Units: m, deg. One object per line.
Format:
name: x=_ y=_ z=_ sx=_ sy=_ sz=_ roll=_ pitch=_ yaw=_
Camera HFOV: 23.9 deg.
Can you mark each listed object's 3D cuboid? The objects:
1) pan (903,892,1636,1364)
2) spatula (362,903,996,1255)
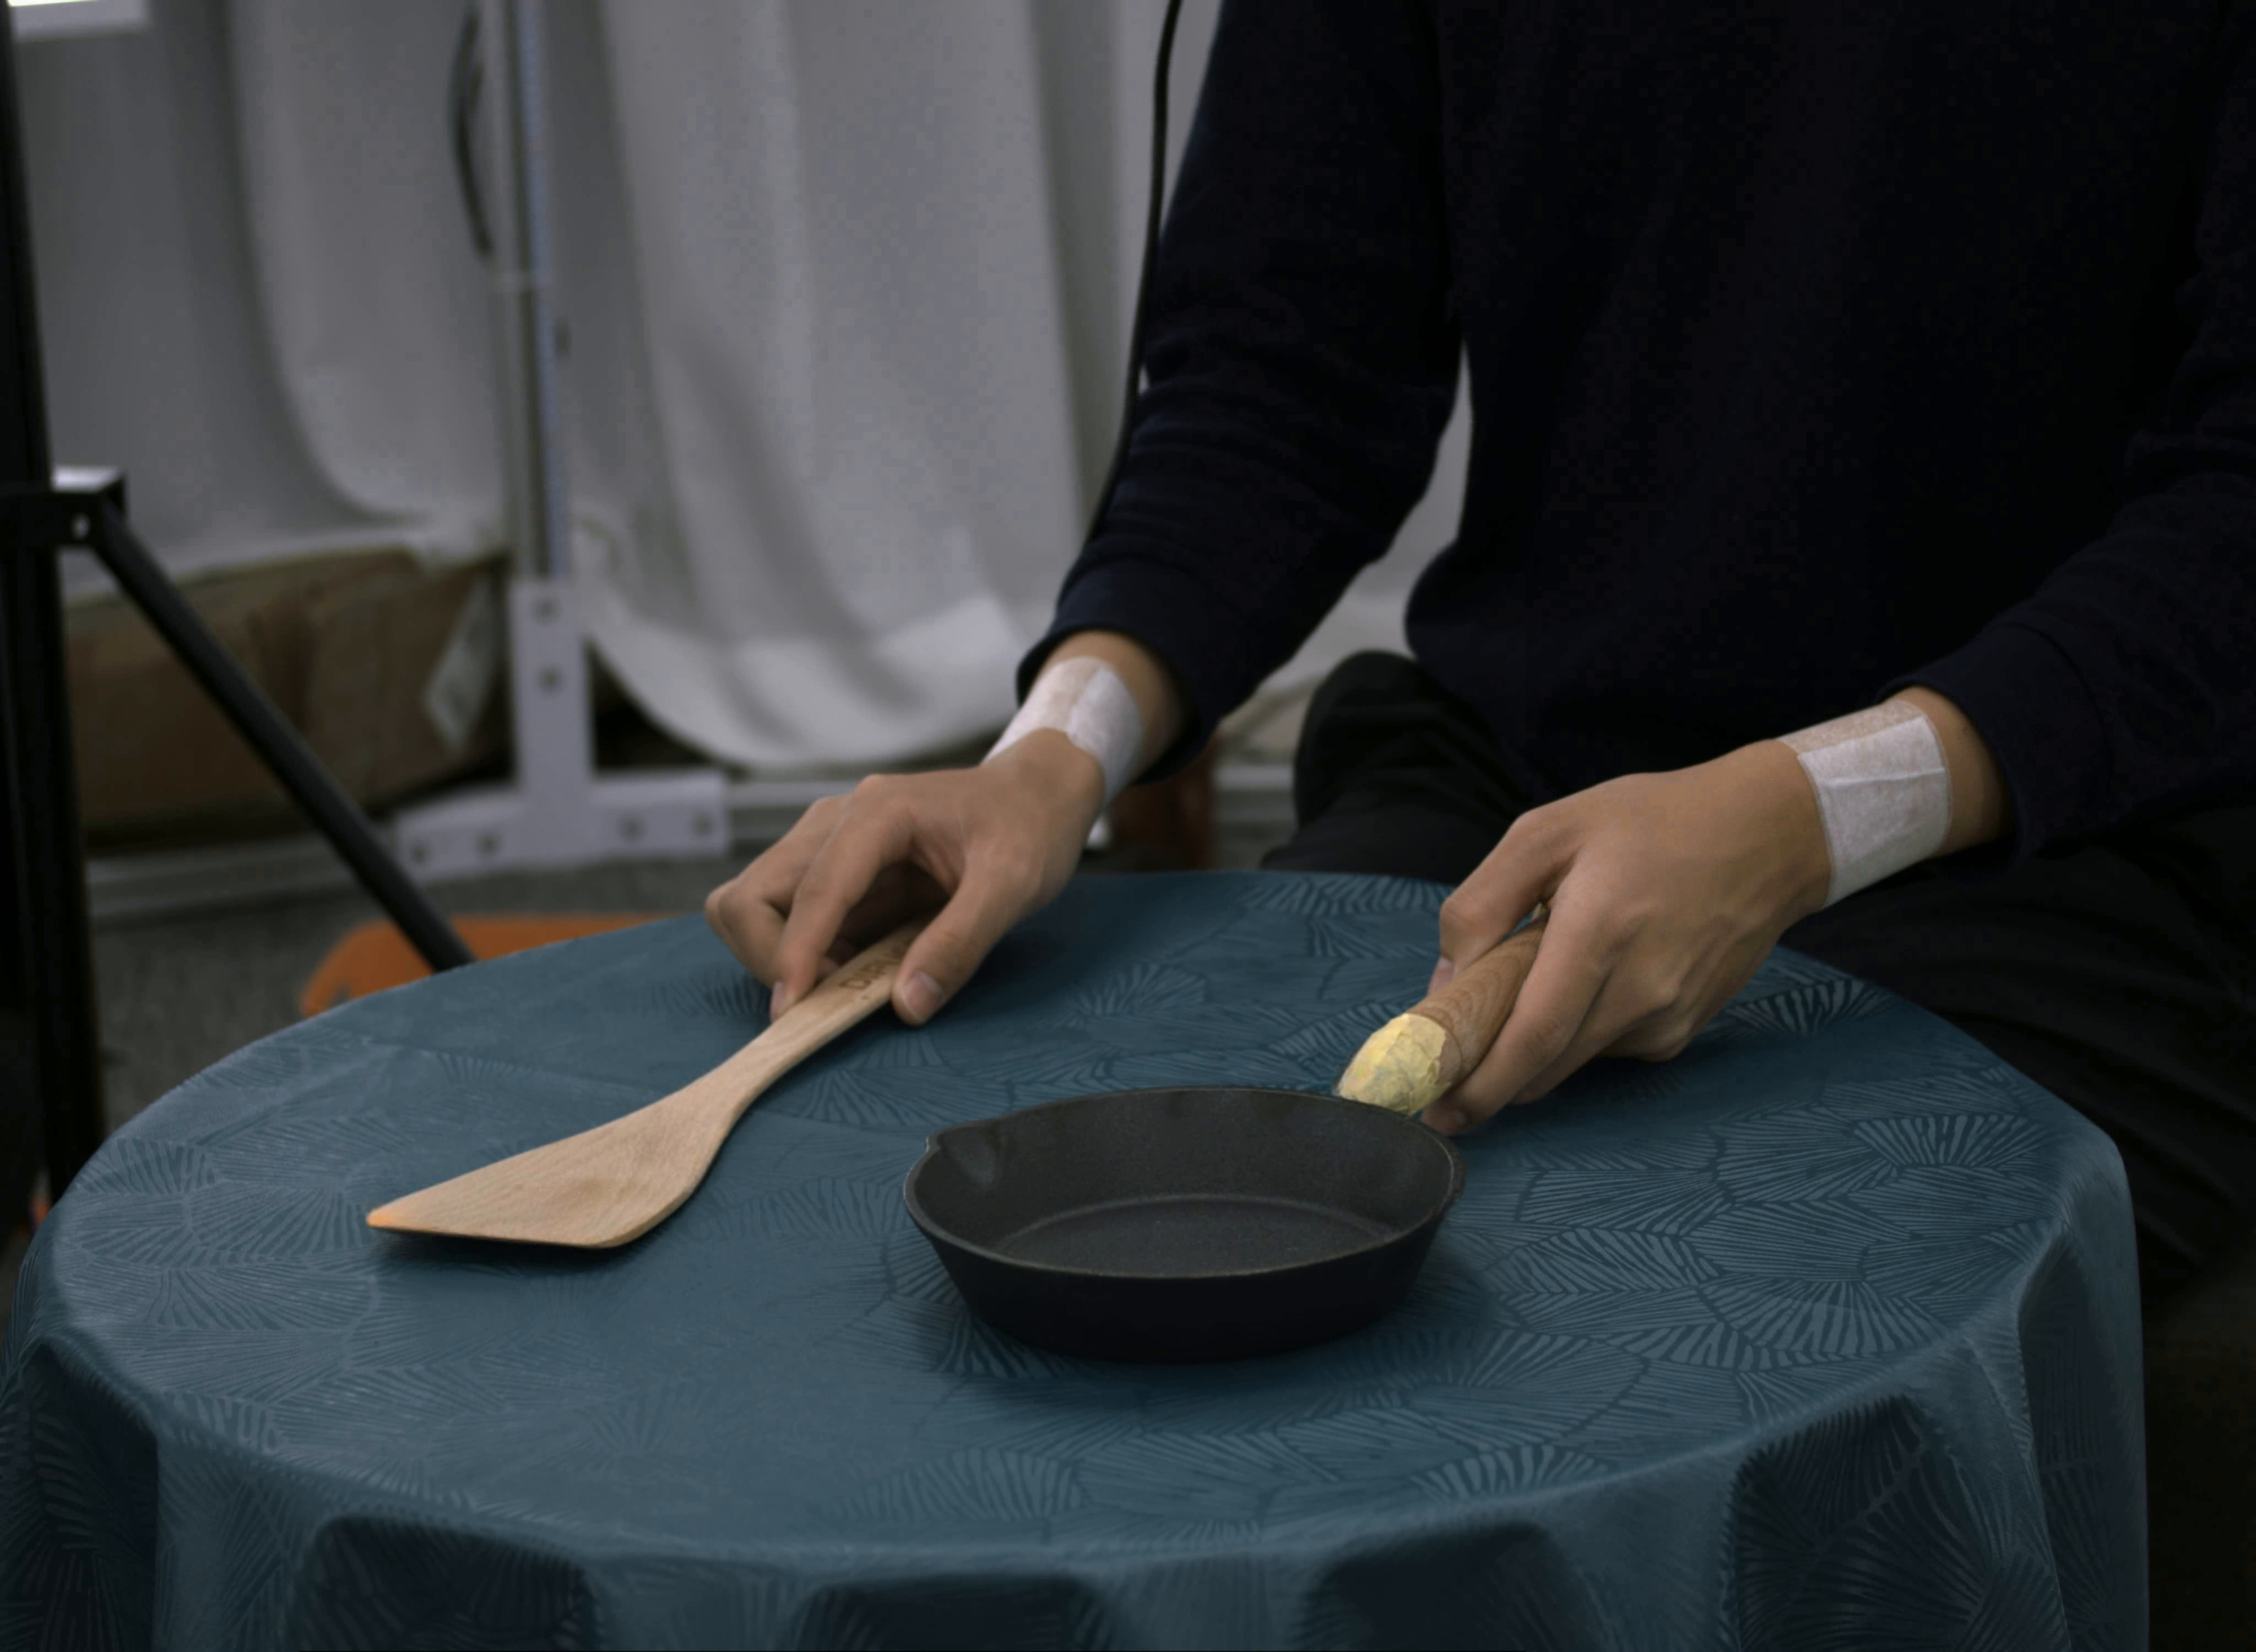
pan: x=0.065 y=0.084 z=1.540 sx=0.172 sy=0.049 sz=0.318 roll=9 pitch=21 yaw=35
spatula: x=-0.120 y=0.075 z=1.656 sx=0.081 sy=0.016 sz=0.323 roll=6 pitch=21 yaw=25
